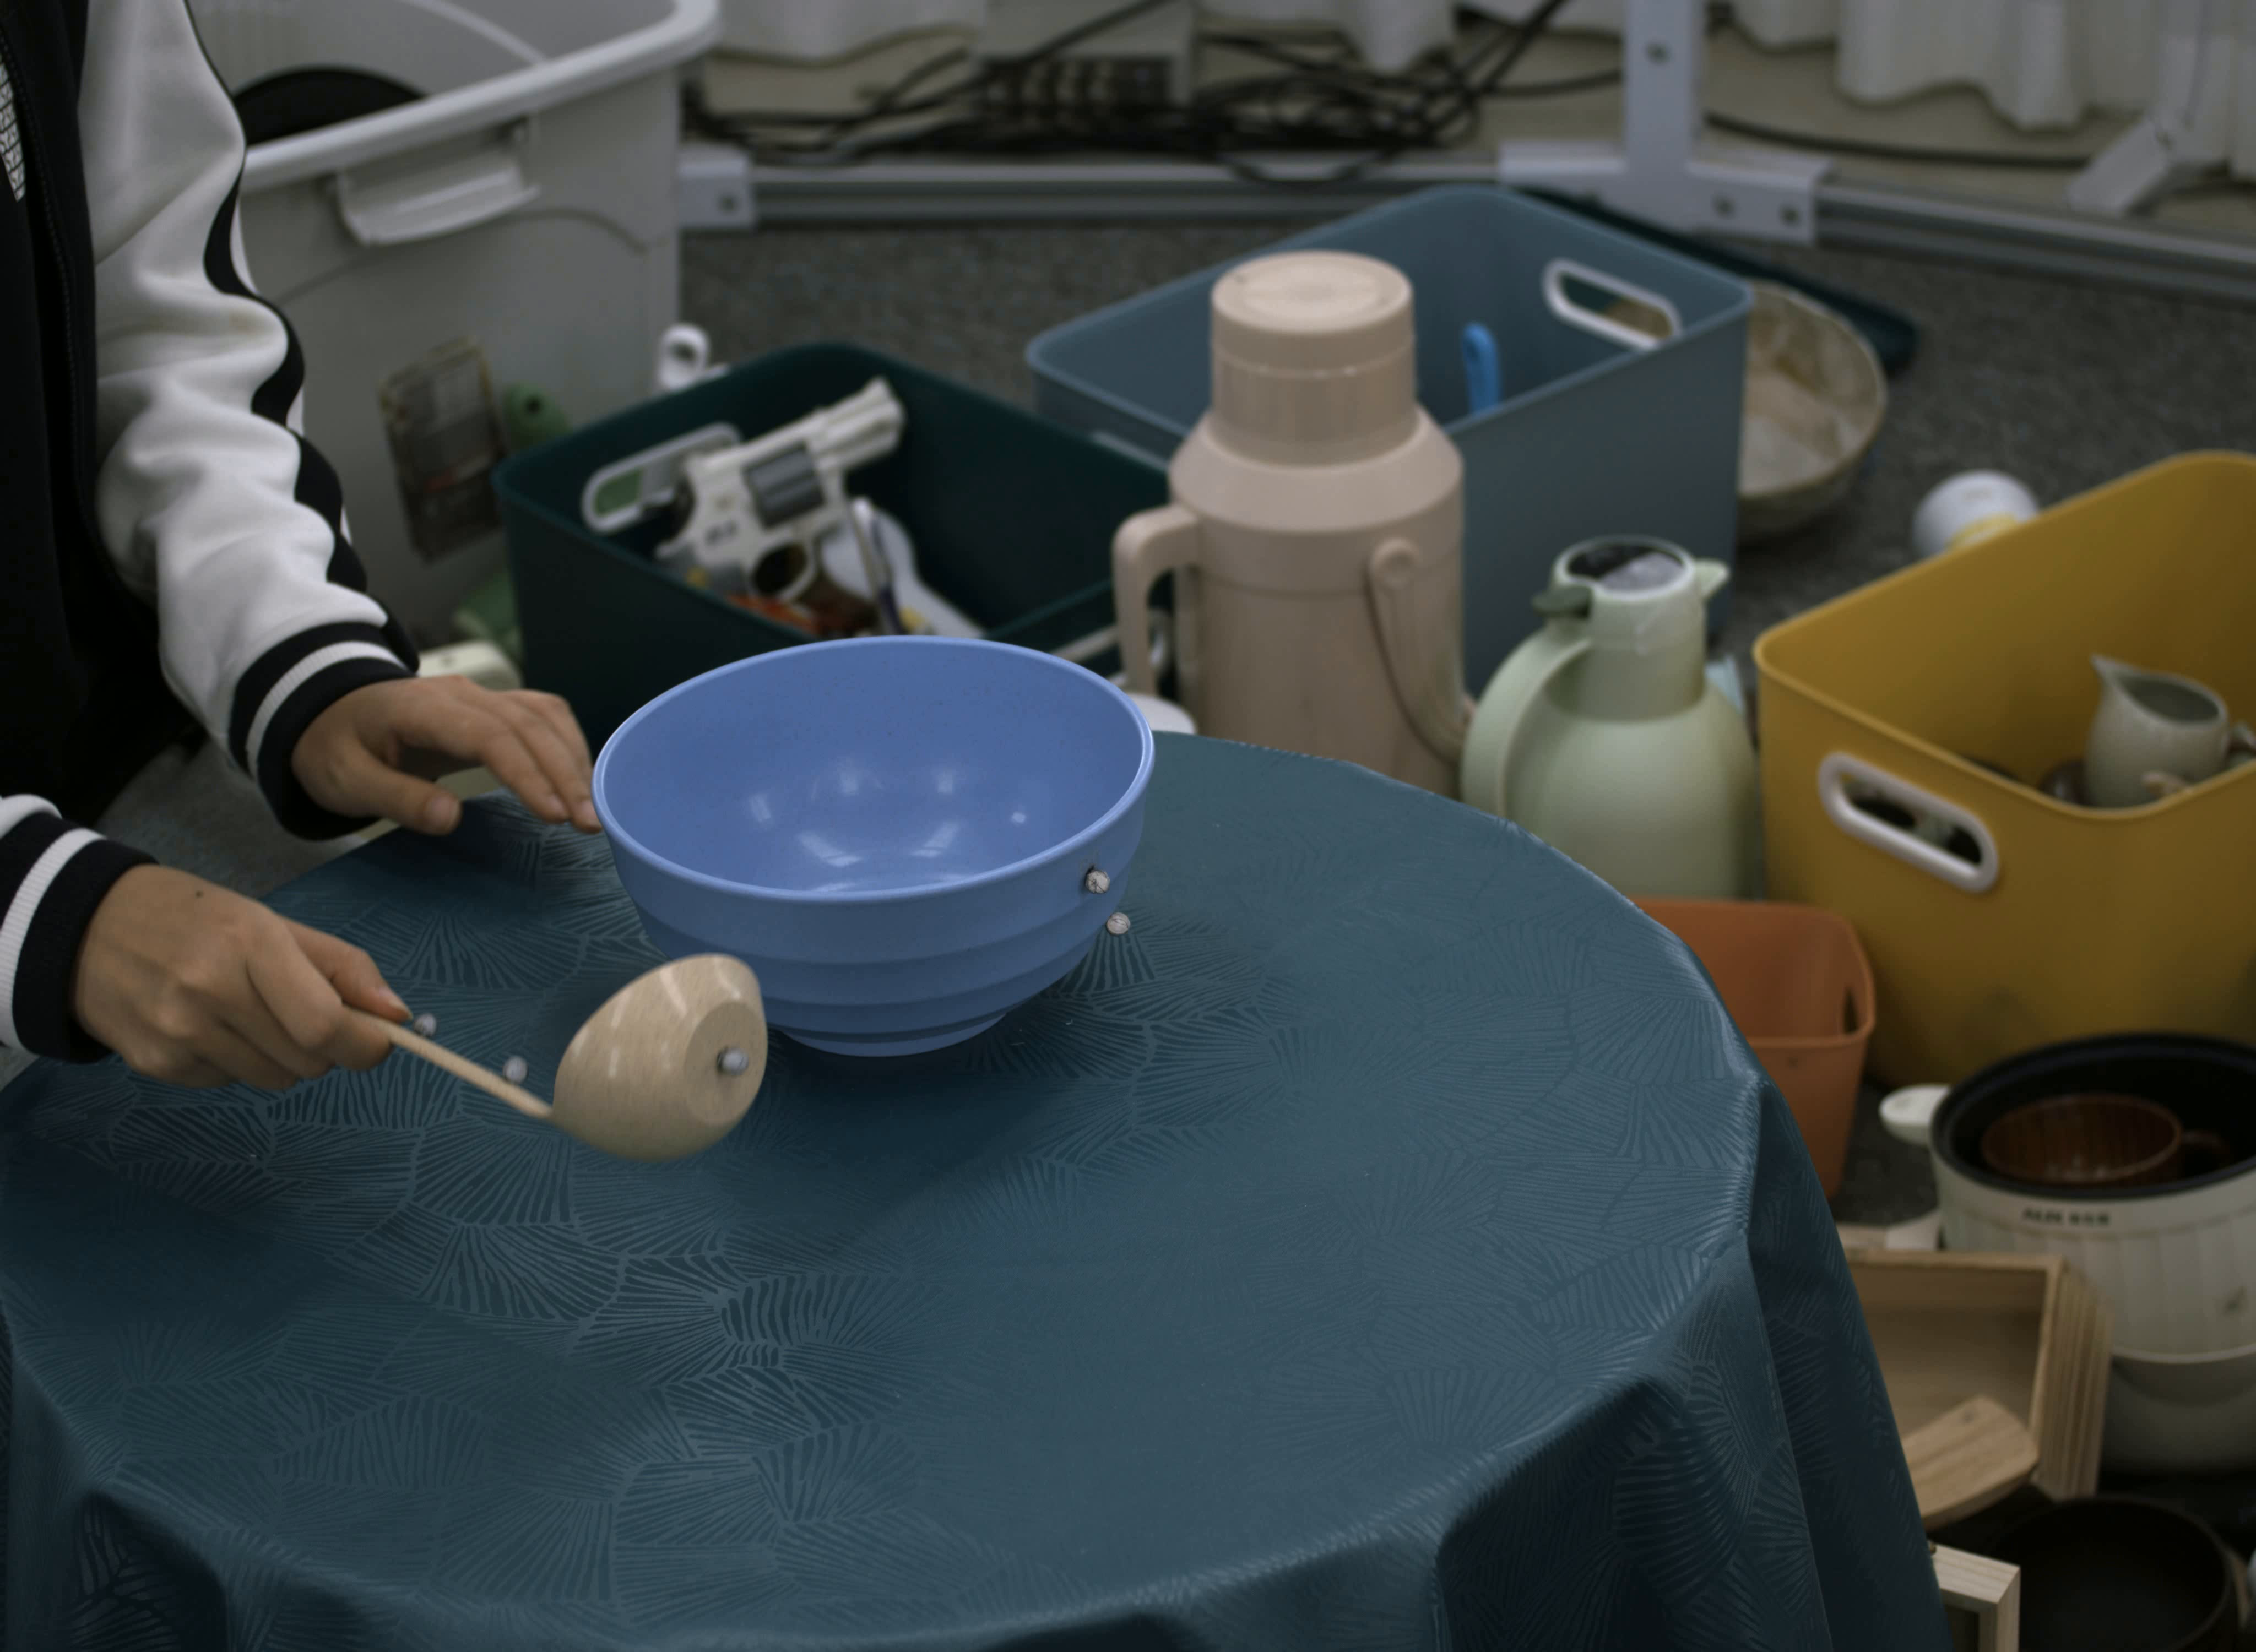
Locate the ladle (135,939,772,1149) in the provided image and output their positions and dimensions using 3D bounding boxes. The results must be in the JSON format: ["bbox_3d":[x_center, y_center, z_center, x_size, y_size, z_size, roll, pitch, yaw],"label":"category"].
[{"bbox_3d":[-0.223,0.044,1.834,0.253,0.073,0.072,17,-9,36],"label":"ladle"}]

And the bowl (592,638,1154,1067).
[{"bbox_3d":[-0.085,0.021,1.969,0.195,0.094,0.199,-3,28,2],"label":"bowl"}]
